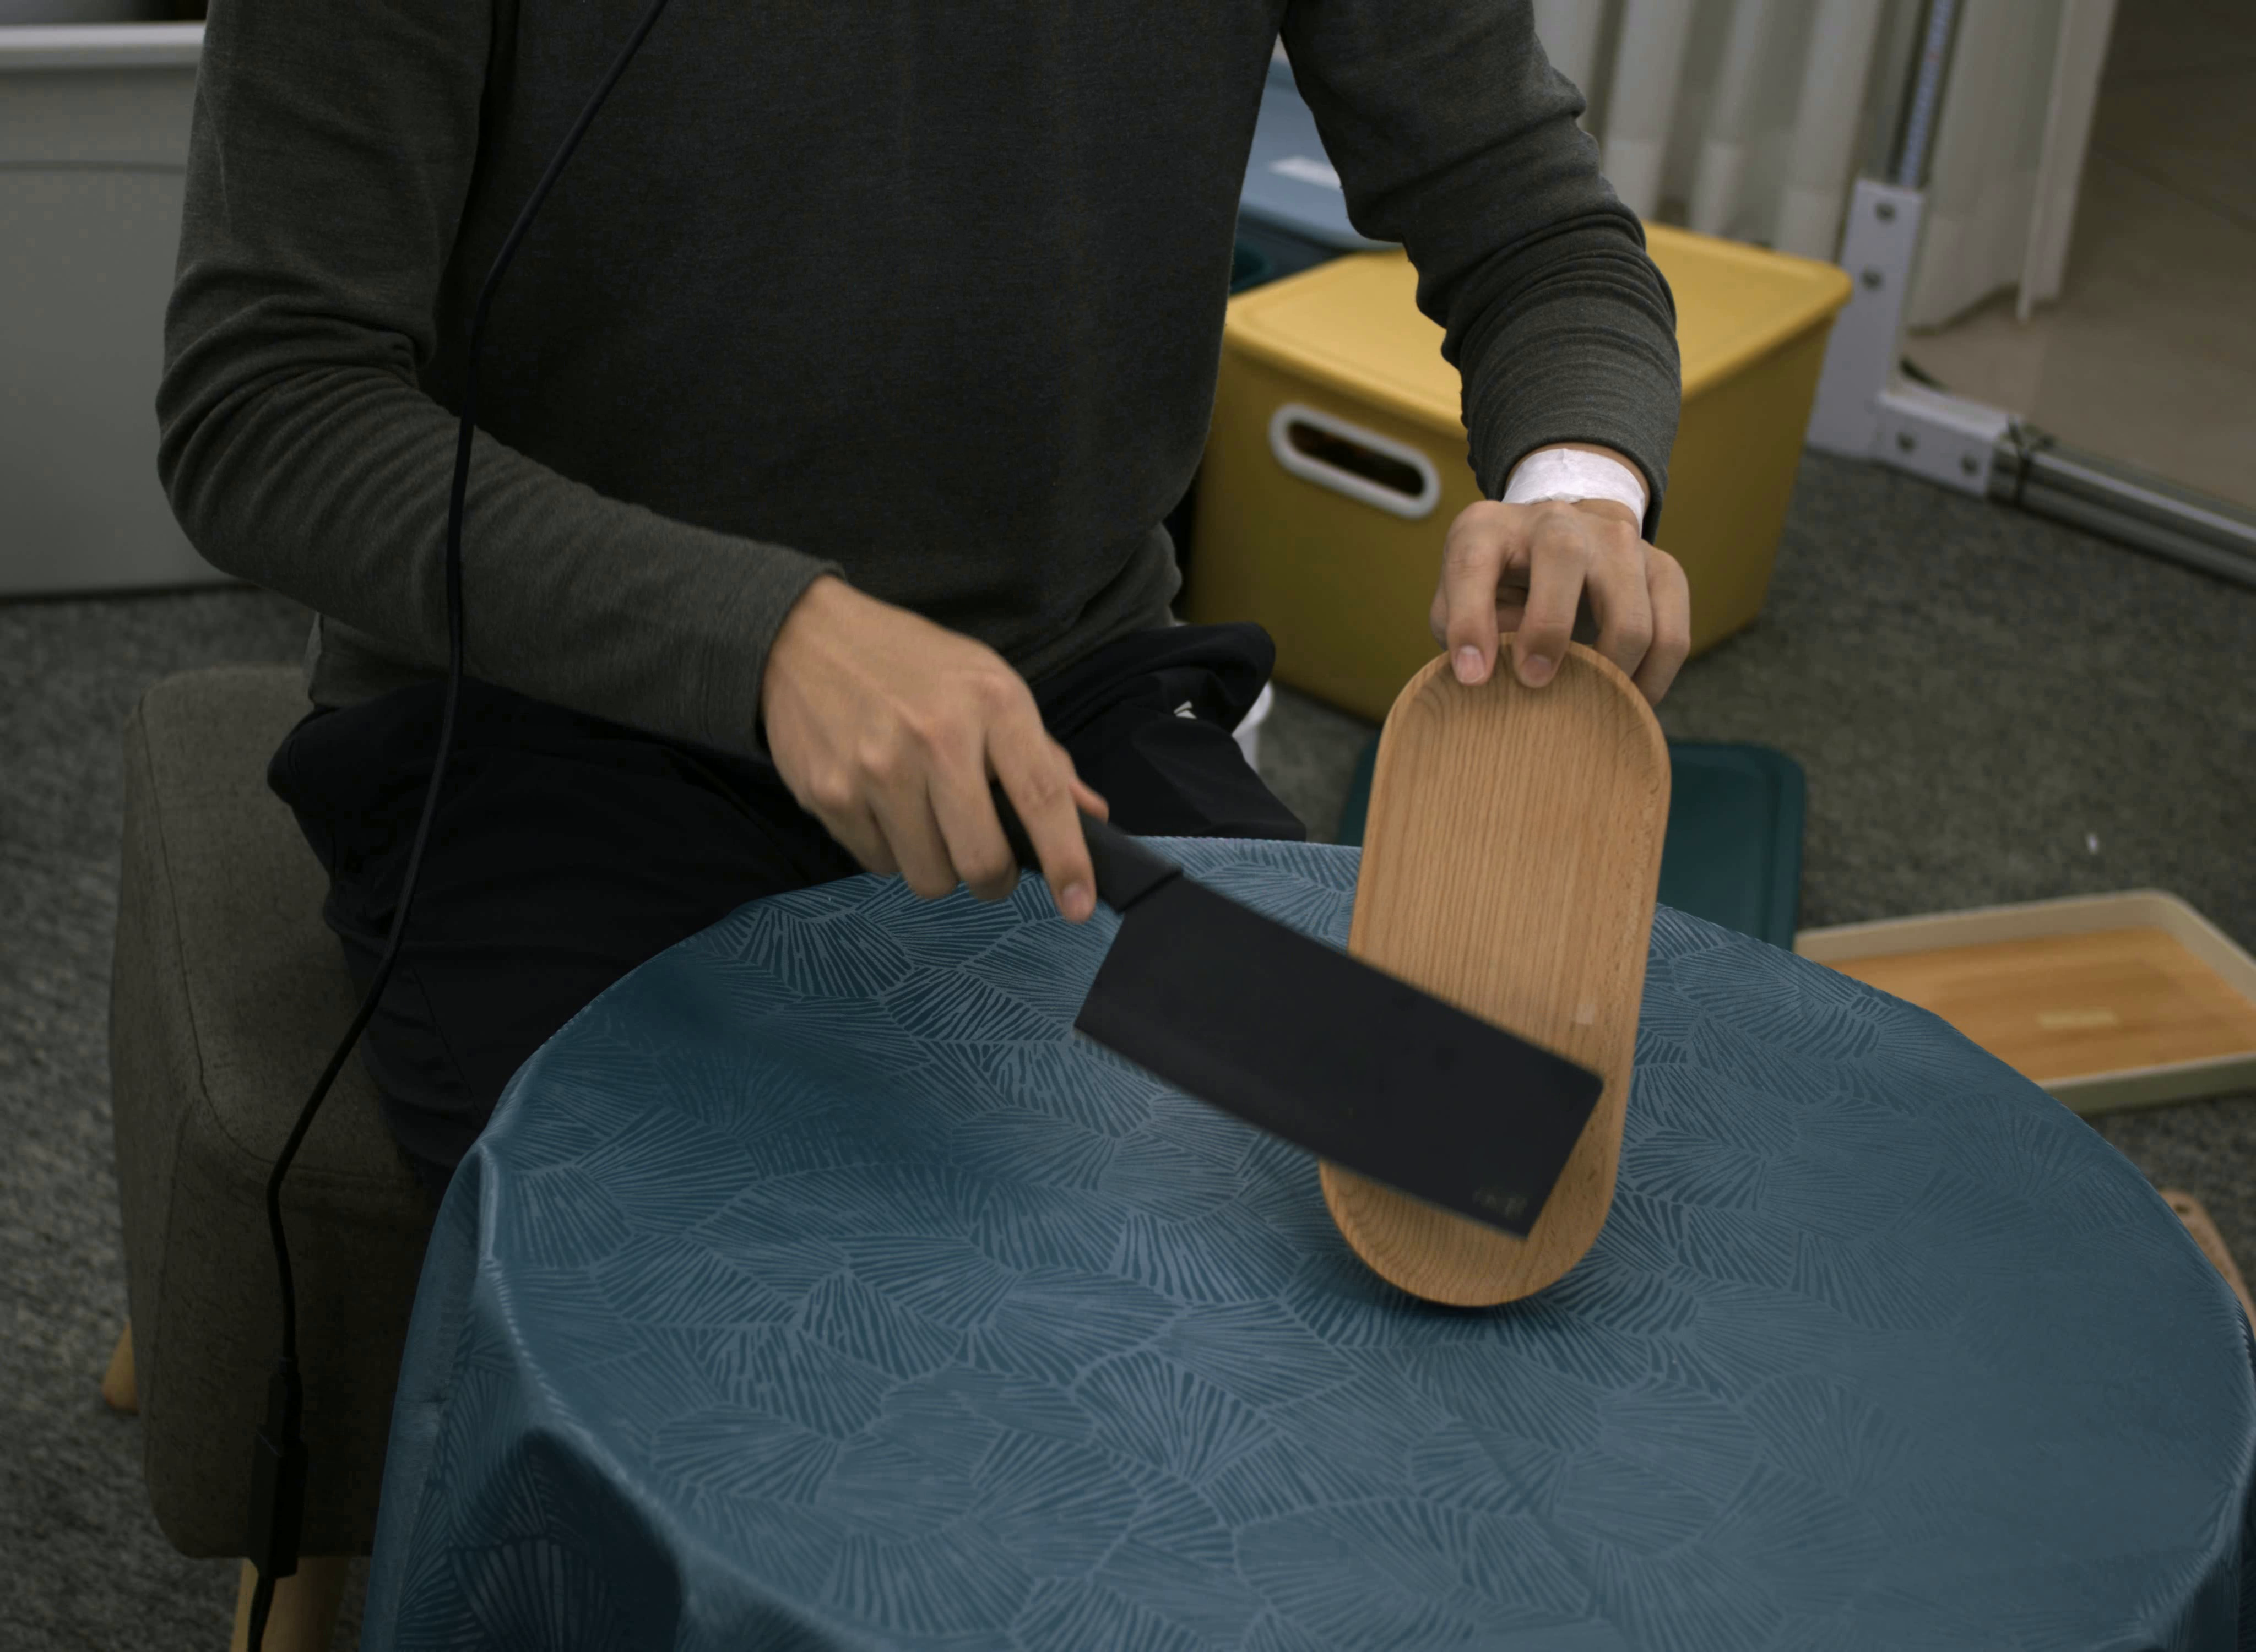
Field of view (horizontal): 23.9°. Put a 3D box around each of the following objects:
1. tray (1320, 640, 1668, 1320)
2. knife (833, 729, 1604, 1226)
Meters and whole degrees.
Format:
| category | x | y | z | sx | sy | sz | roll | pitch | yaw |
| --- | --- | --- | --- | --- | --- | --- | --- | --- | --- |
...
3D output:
| category | x | y | z | sx | sy | sz | roll | pitch | yaw |
| --- | --- | --- | --- | --- | --- | --- | --- | --- | --- |
| tray | 0.123 | 0.051 | 1.782 | 0.101 | 0.232 | 0.020 | 8 | -11 | -1 |
| knife | 0.022 | 0.045 | 1.789 | 0.304 | 0.081 | 0.020 | 30 | -2 | 26 |
